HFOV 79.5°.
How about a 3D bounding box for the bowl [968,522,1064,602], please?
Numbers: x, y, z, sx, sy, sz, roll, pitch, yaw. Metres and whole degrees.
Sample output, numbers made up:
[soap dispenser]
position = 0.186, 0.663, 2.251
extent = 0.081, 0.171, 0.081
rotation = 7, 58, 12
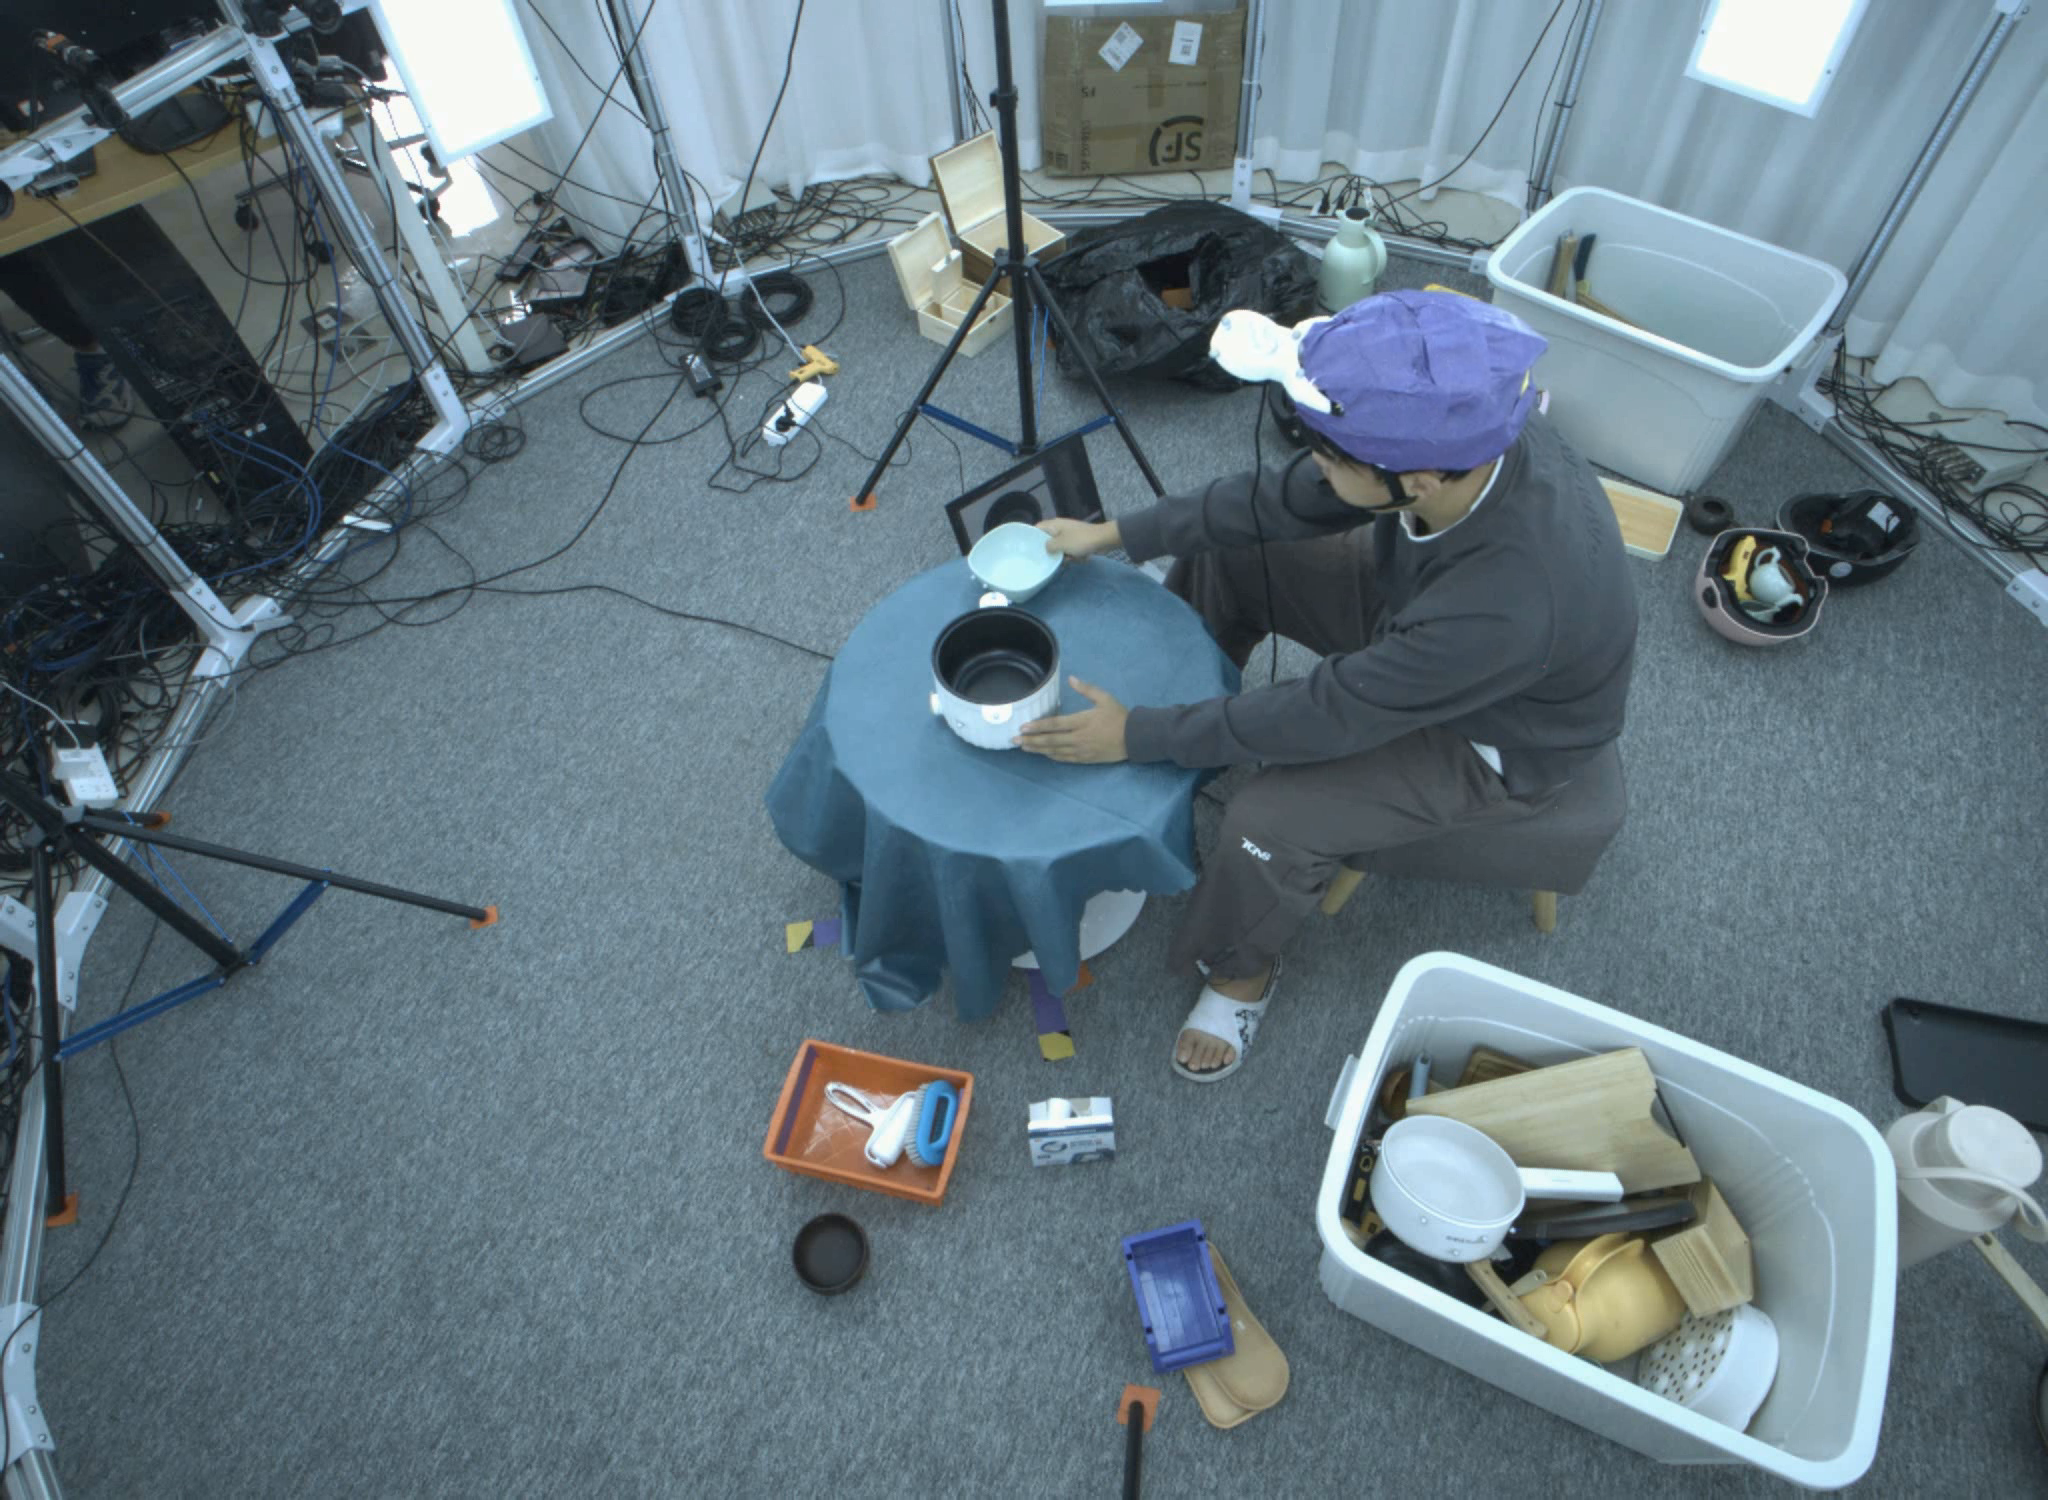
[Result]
[bowl]
position = -0.012, -0.291, 1.959
extent = 0.151, 0.059, 0.150
rotation = -1, 56, 2

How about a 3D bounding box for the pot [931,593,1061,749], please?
[pot]
position = -0.041, -0.095, 1.769
extent = 0.191, 0.144, 0.237
rotation = -3, 53, -4
